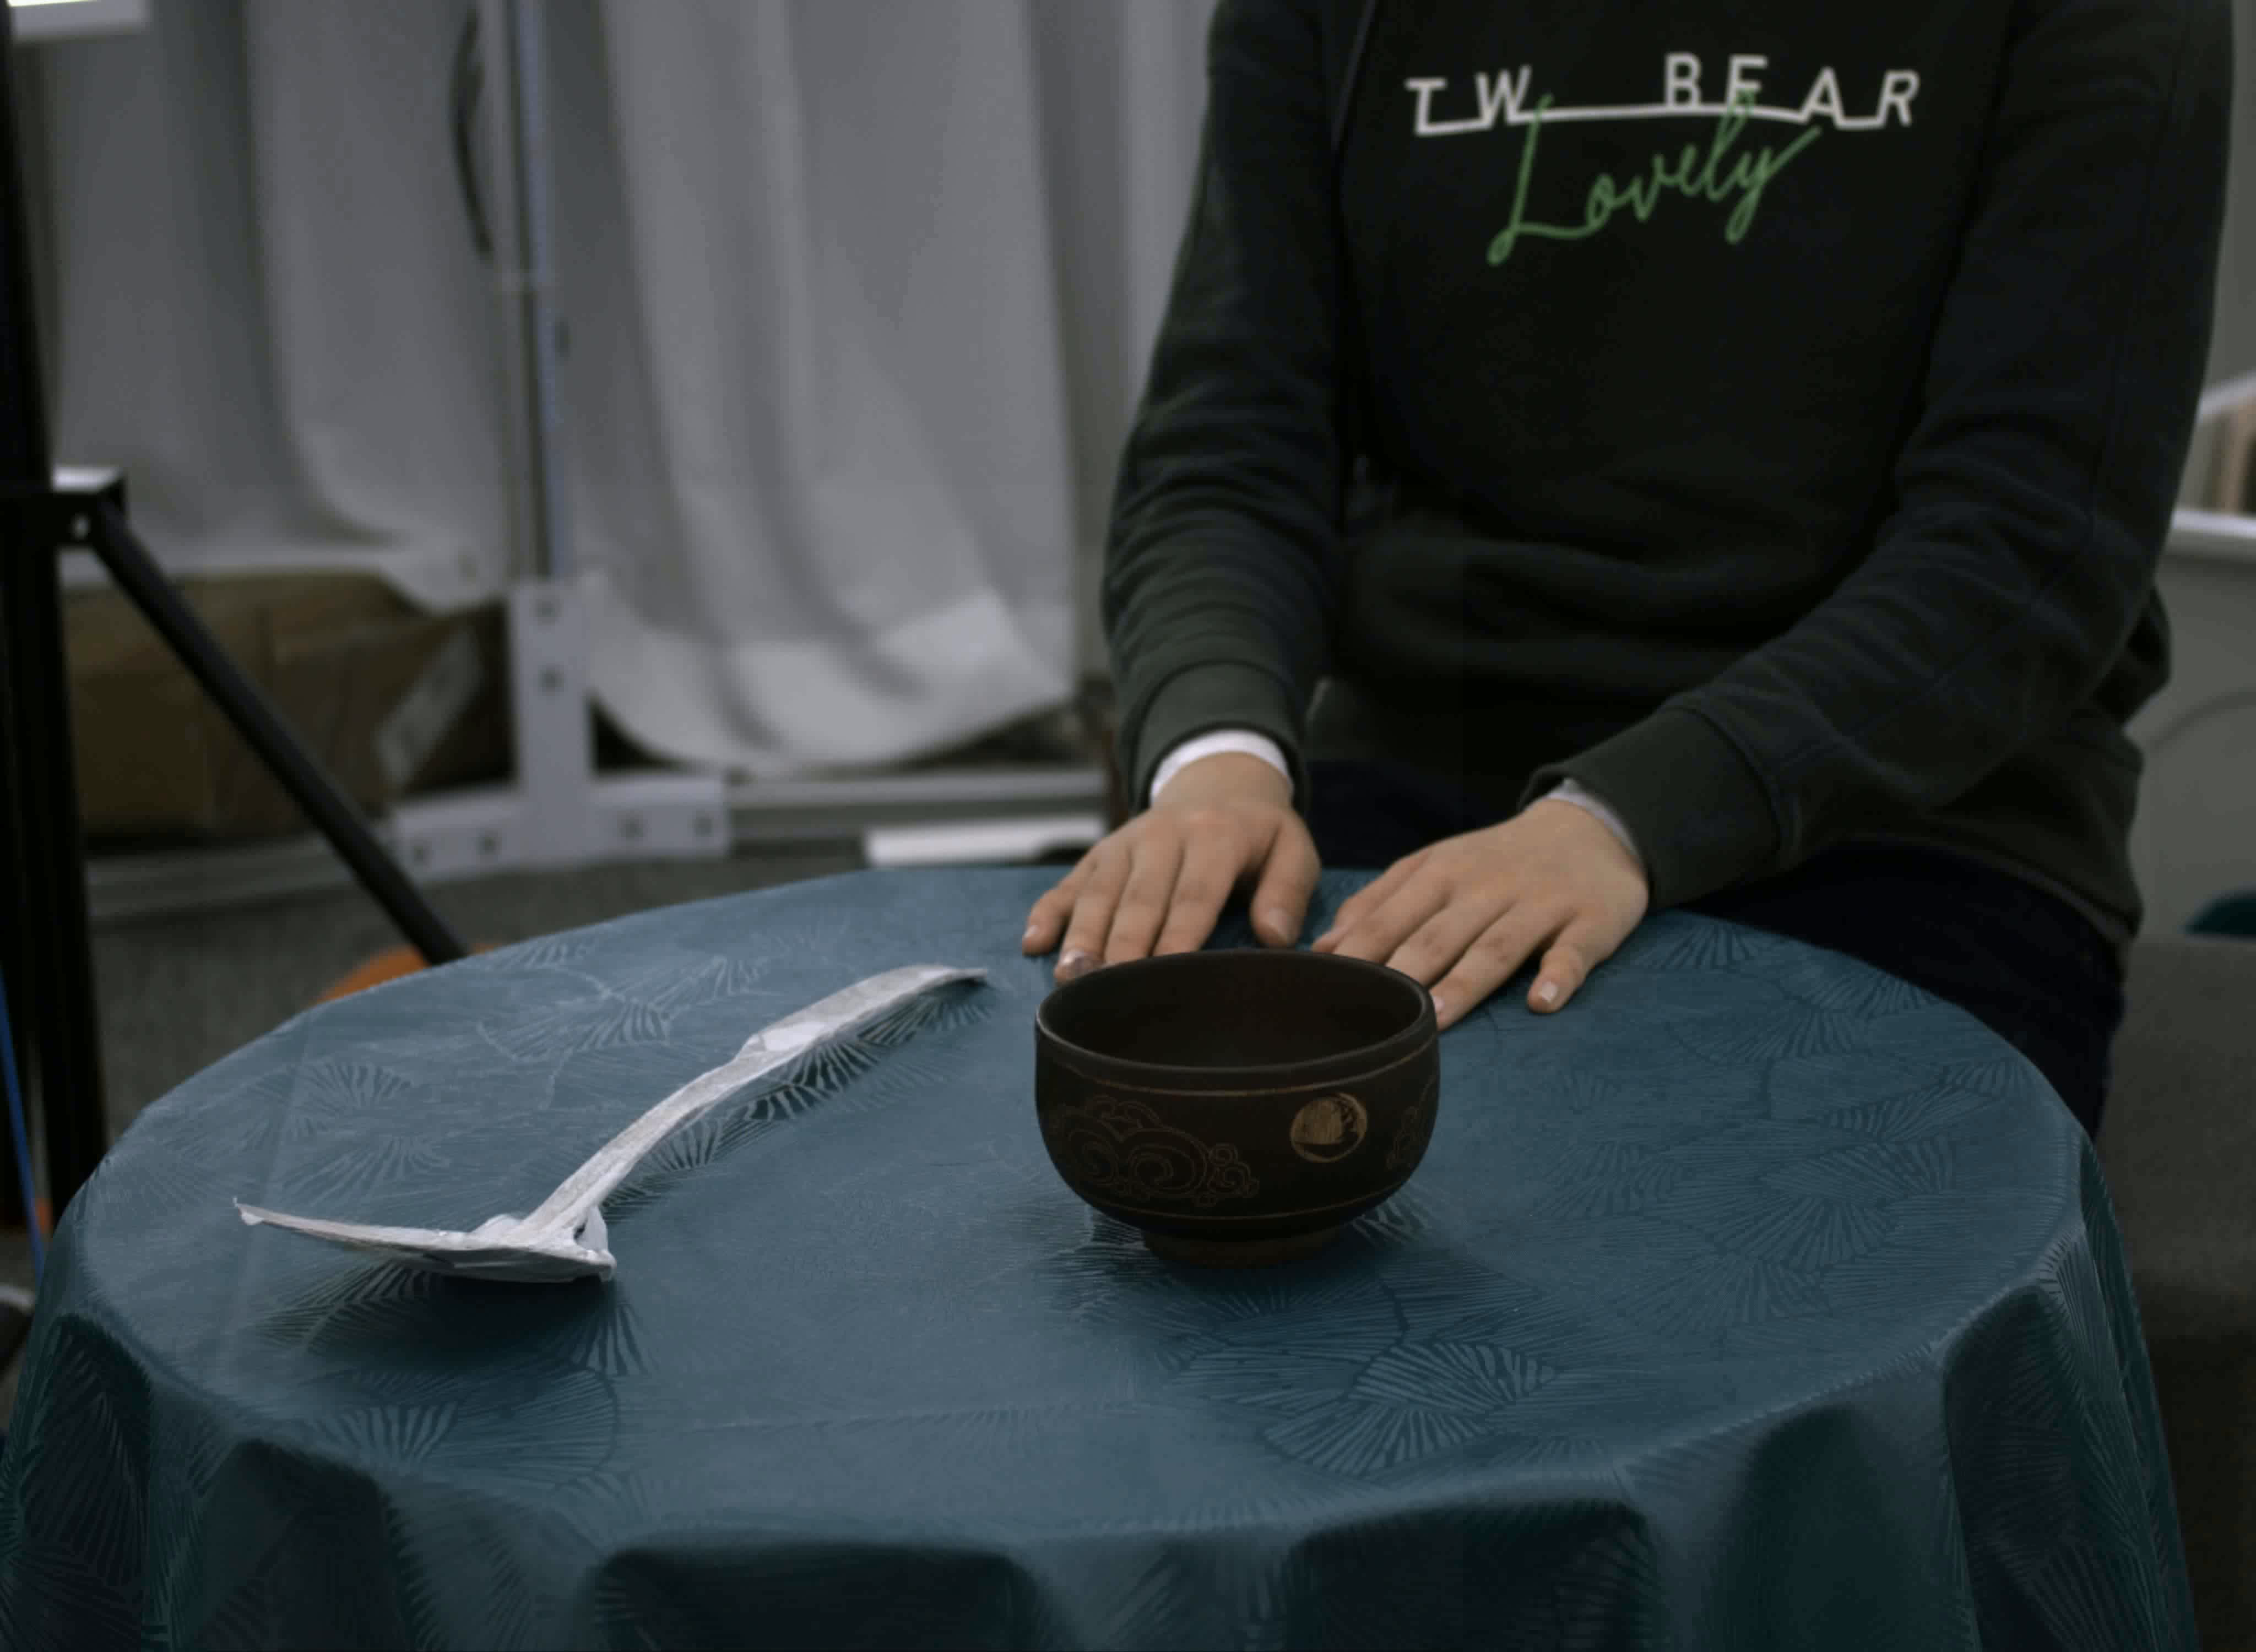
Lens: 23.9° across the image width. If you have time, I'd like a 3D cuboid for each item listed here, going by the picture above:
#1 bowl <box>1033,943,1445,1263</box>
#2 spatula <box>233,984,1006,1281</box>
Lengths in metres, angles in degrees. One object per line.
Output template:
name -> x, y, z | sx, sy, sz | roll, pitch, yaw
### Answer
bowl -> 0.032, 0.083, 1.510 | 0.117, 0.070, 0.118 | -1, 16, -1
spatula -> -0.131, 0.082, 1.601 | 0.100, 0.045, 0.359 | 3, 17, 27
